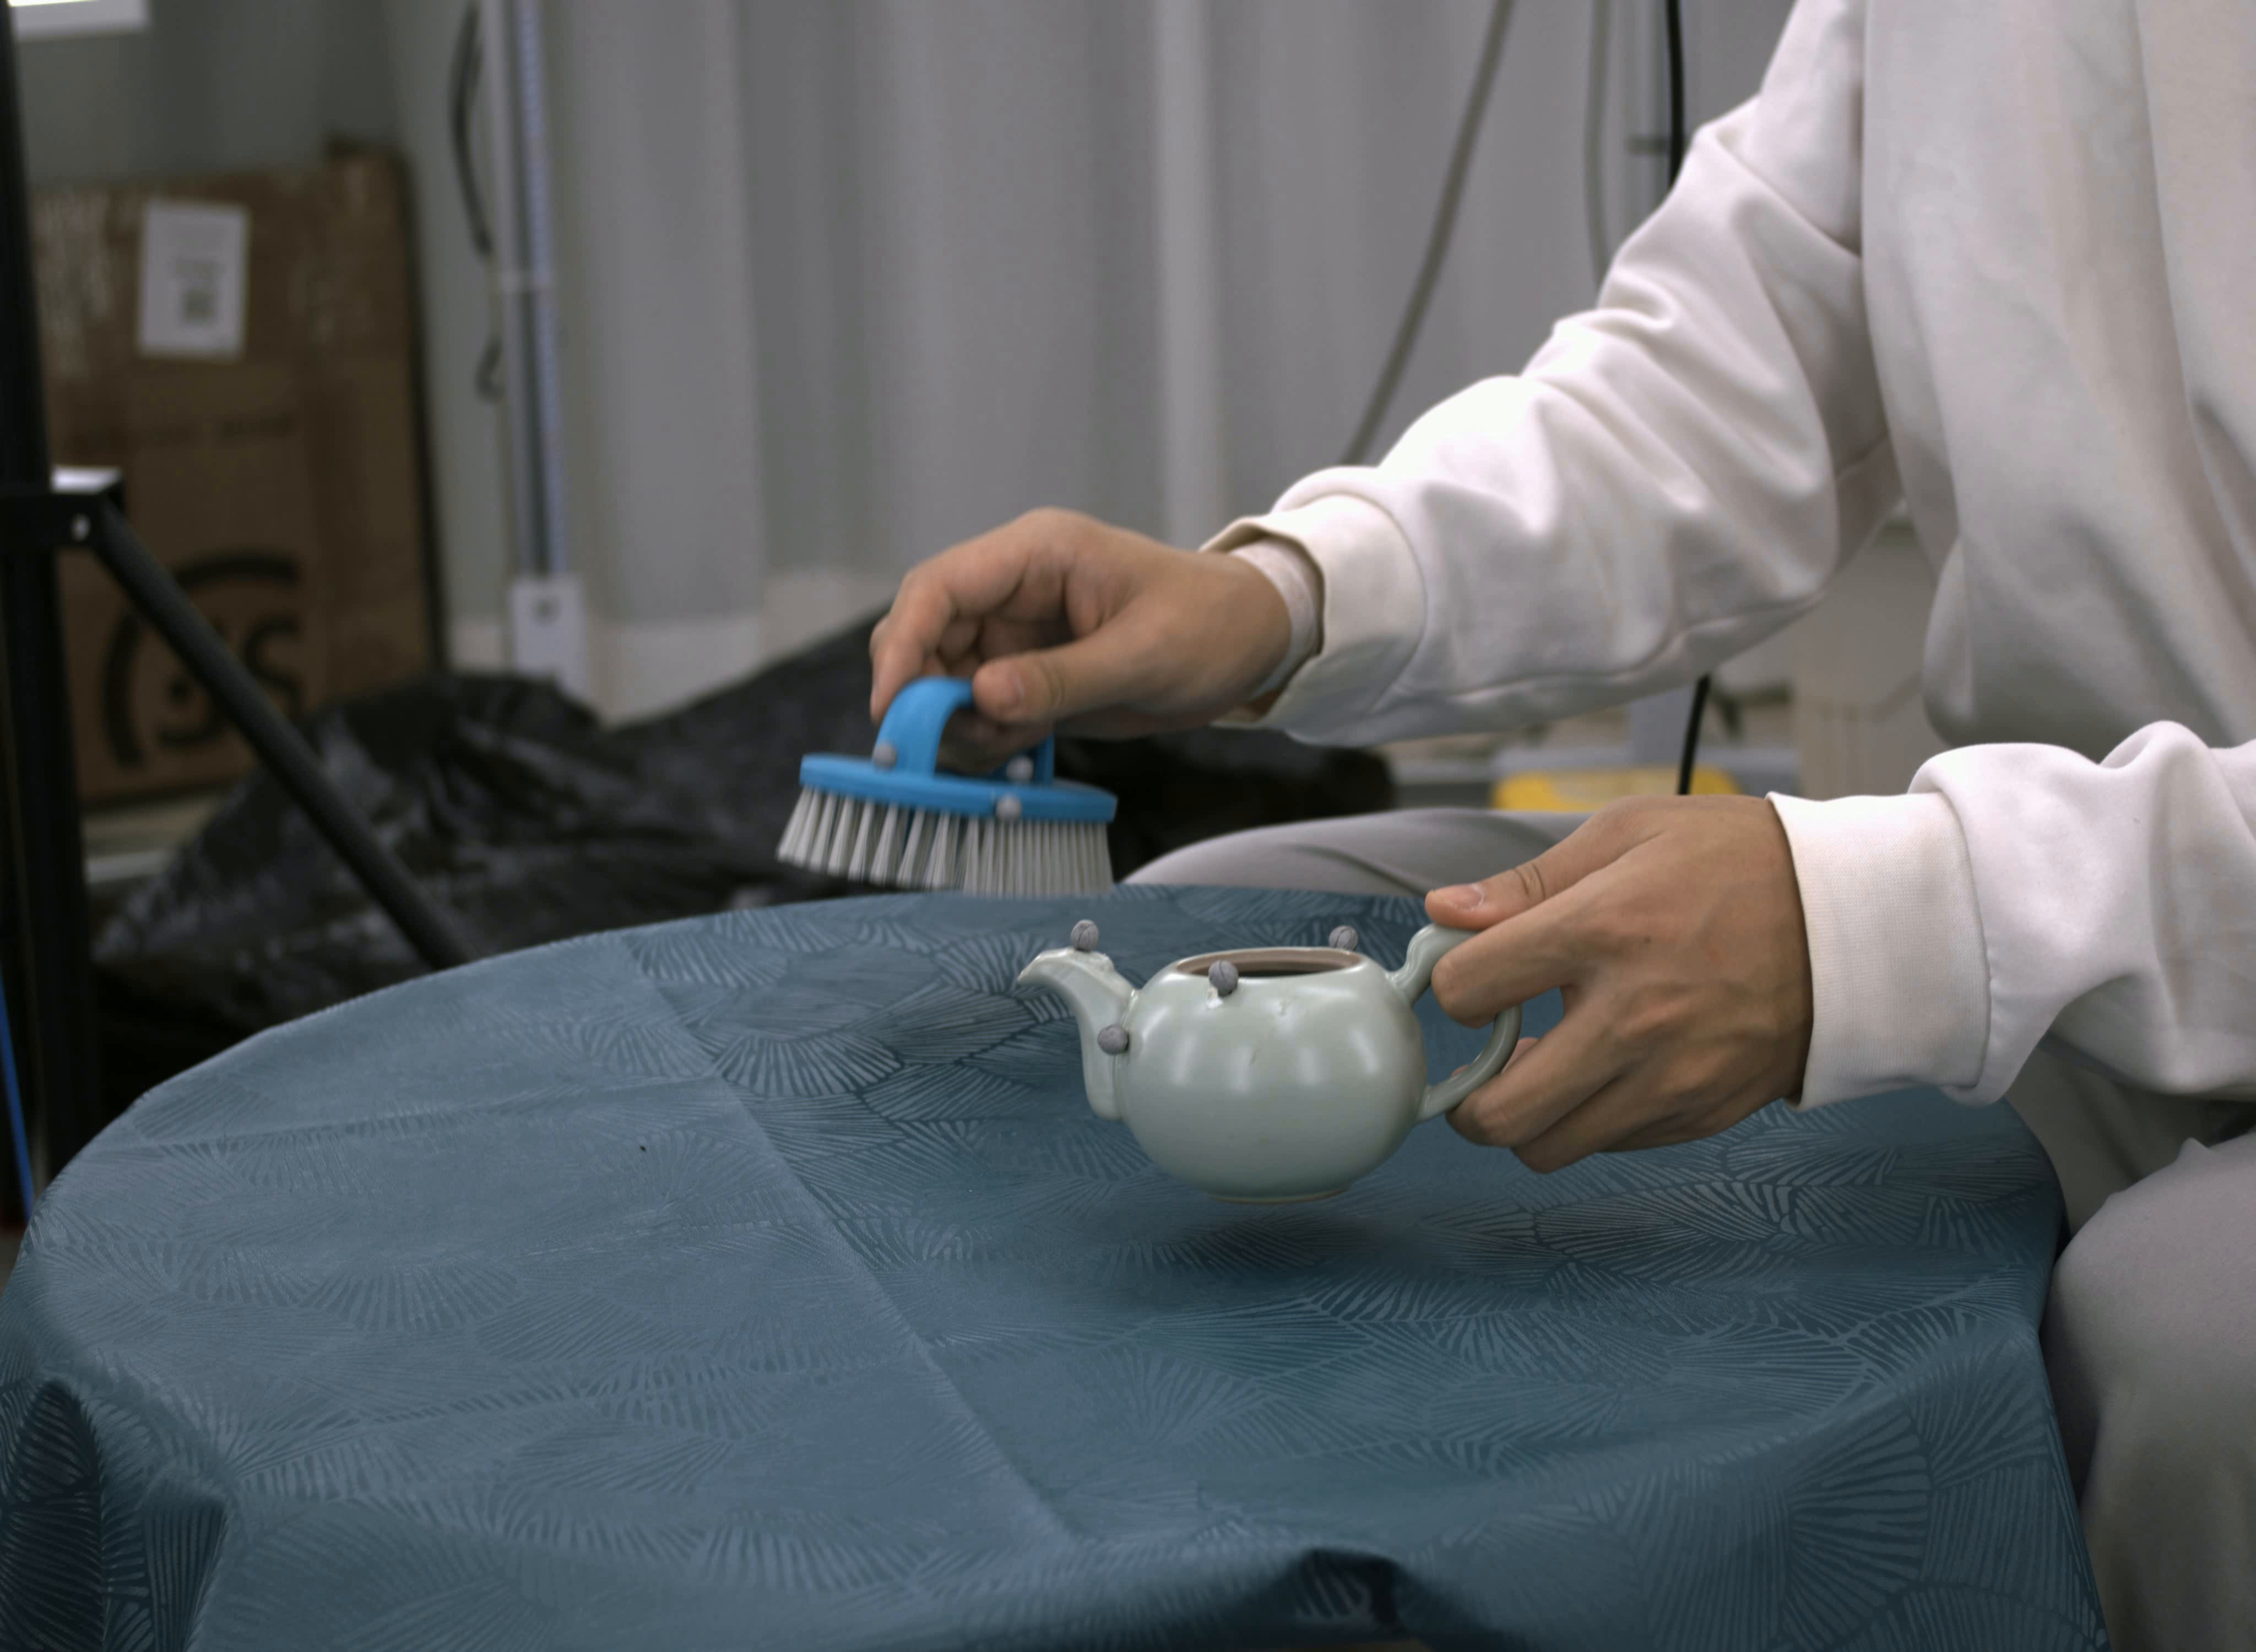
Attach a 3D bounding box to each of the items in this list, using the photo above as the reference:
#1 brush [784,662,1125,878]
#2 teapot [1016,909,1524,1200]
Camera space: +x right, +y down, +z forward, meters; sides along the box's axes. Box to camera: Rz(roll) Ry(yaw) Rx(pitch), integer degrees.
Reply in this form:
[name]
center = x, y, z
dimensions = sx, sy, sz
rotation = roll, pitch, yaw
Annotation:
[brush]
center = -0.053, -0.019, 1.701
dimensions = 0.085, 0.064, 0.139
rotation = 4, -2, 25
[teapot]
center = 0.042, 0.066, 1.504
dimensions = 0.144, 0.075, 0.088
rotation = -5, 5, 10
